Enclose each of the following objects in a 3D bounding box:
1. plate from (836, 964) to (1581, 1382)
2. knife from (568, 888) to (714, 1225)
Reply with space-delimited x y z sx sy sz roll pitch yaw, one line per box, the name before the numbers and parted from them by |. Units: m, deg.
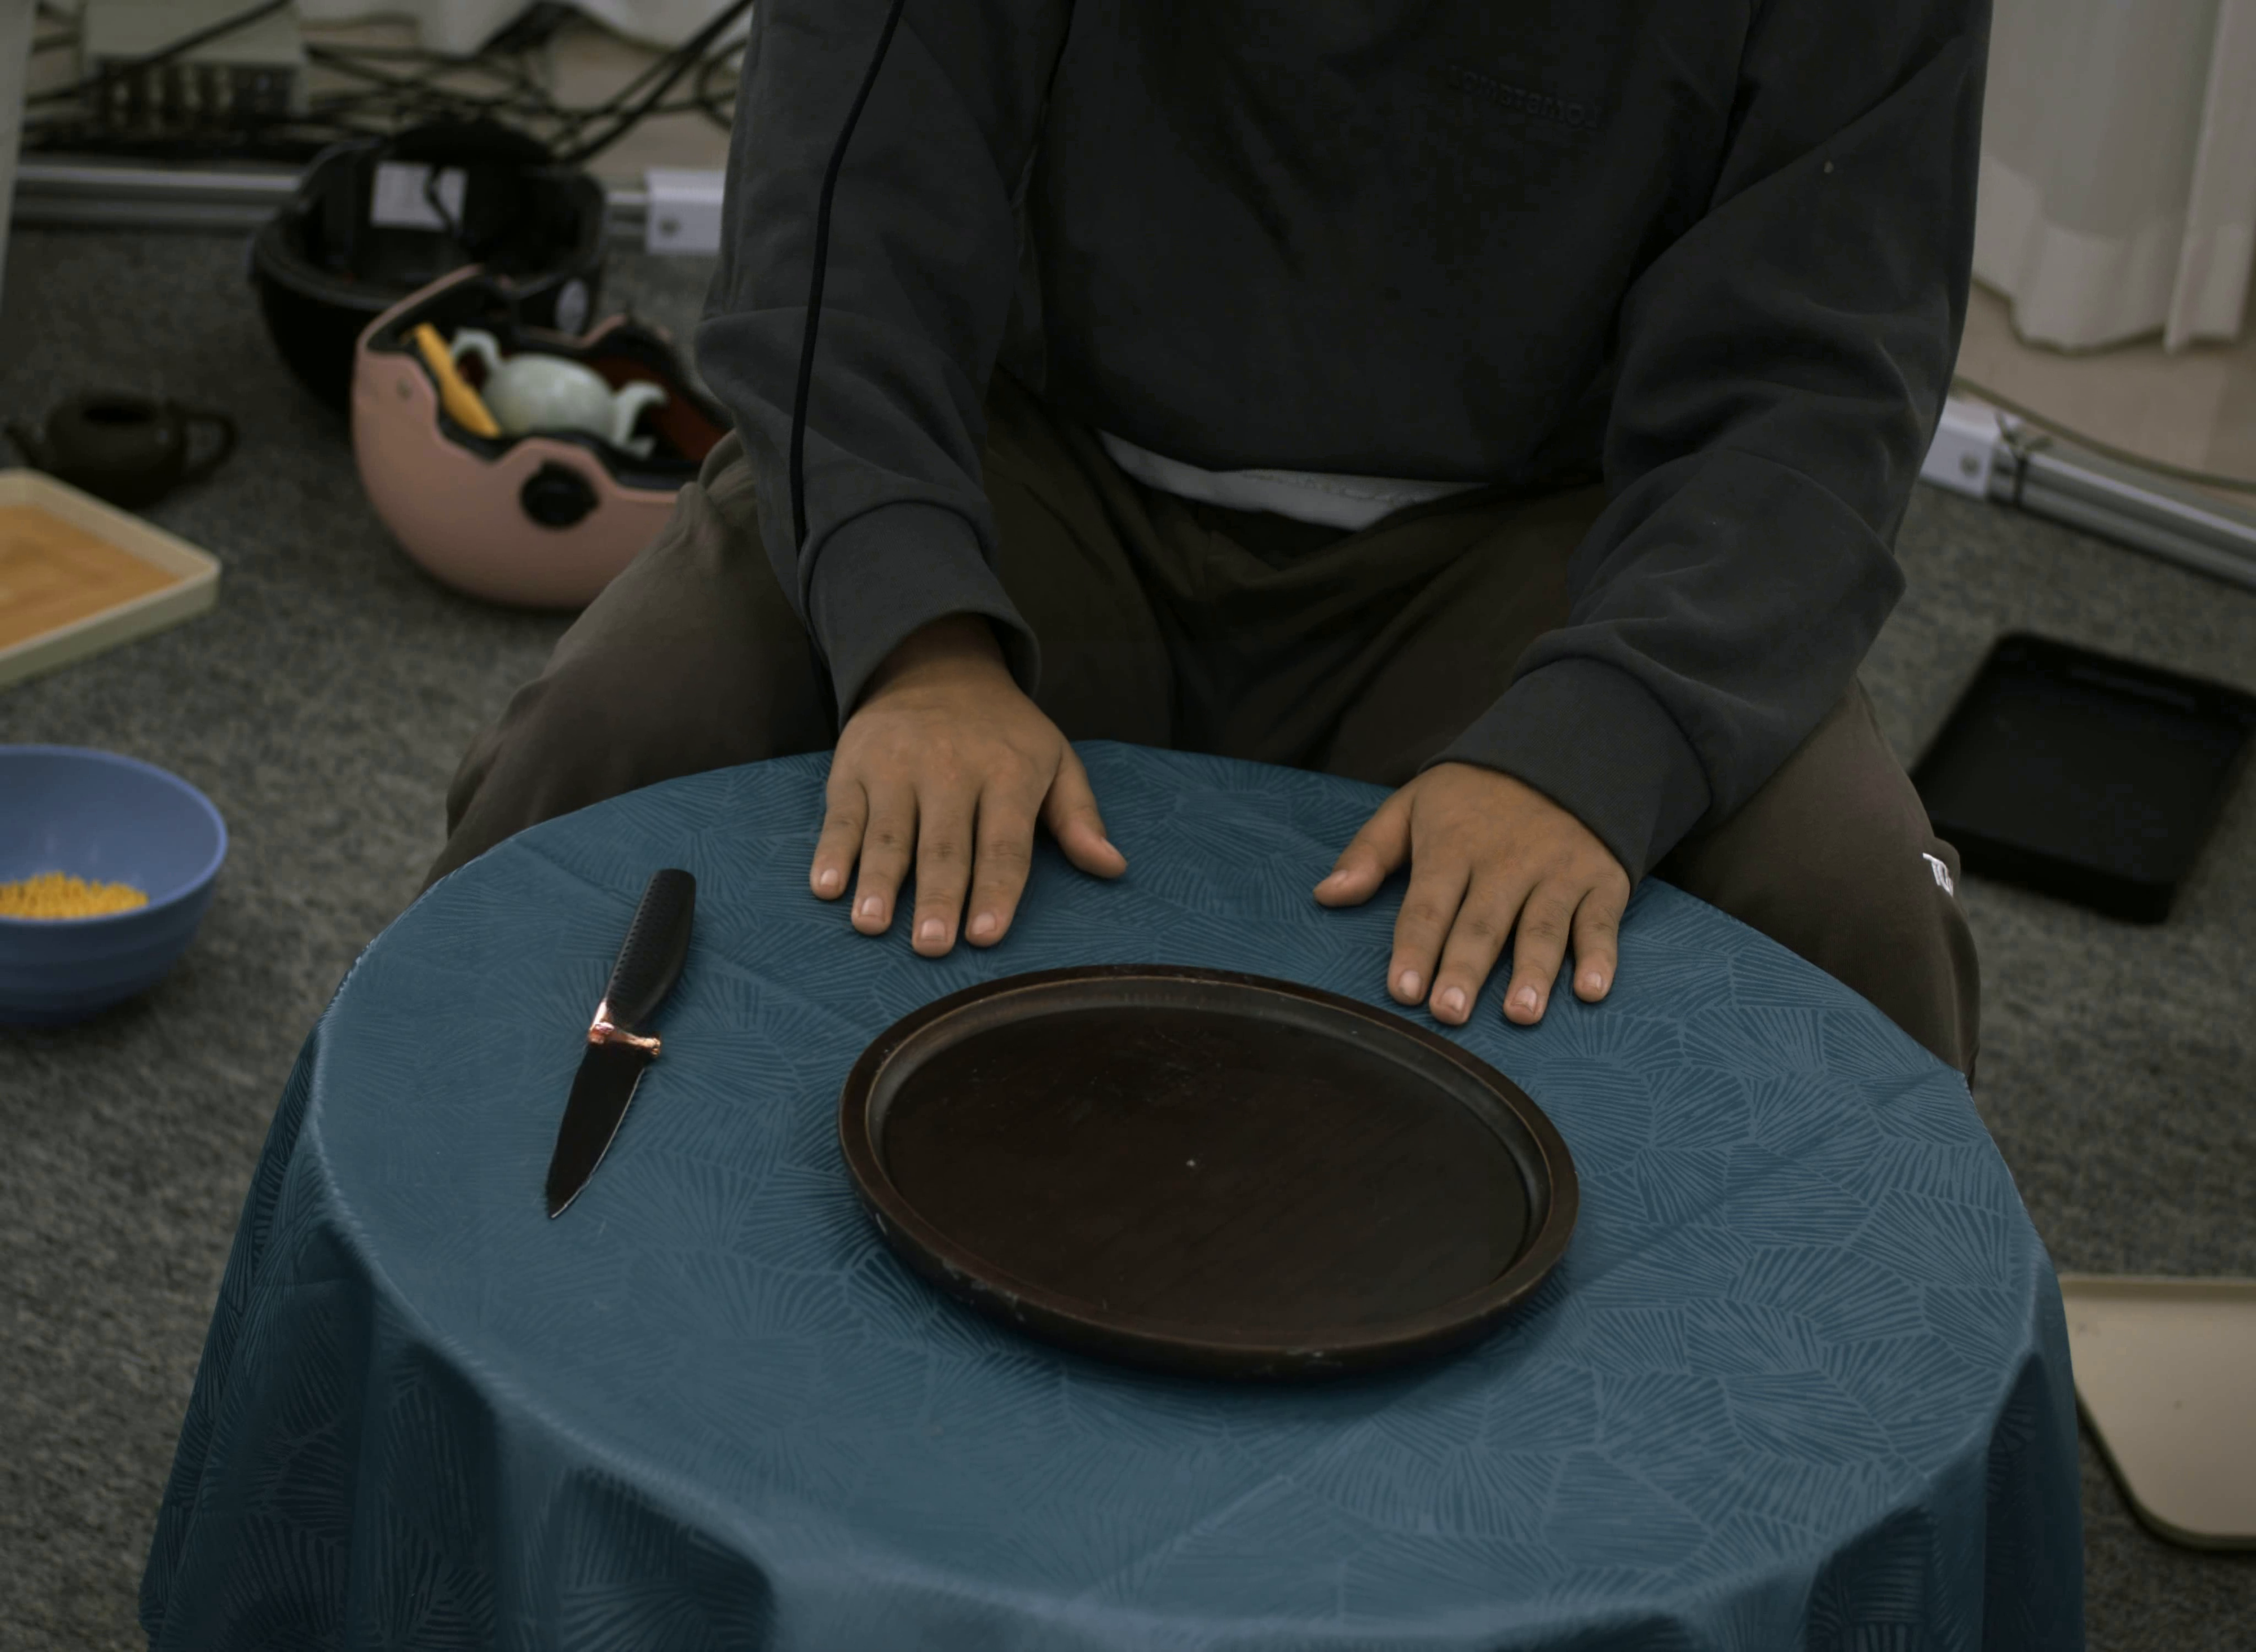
plate | 0.027 0.116 1.803 0.254 0.029 0.256 4 26 -2
knife | -0.172 0.078 1.844 0.026 0.017 0.226 13 28 0
